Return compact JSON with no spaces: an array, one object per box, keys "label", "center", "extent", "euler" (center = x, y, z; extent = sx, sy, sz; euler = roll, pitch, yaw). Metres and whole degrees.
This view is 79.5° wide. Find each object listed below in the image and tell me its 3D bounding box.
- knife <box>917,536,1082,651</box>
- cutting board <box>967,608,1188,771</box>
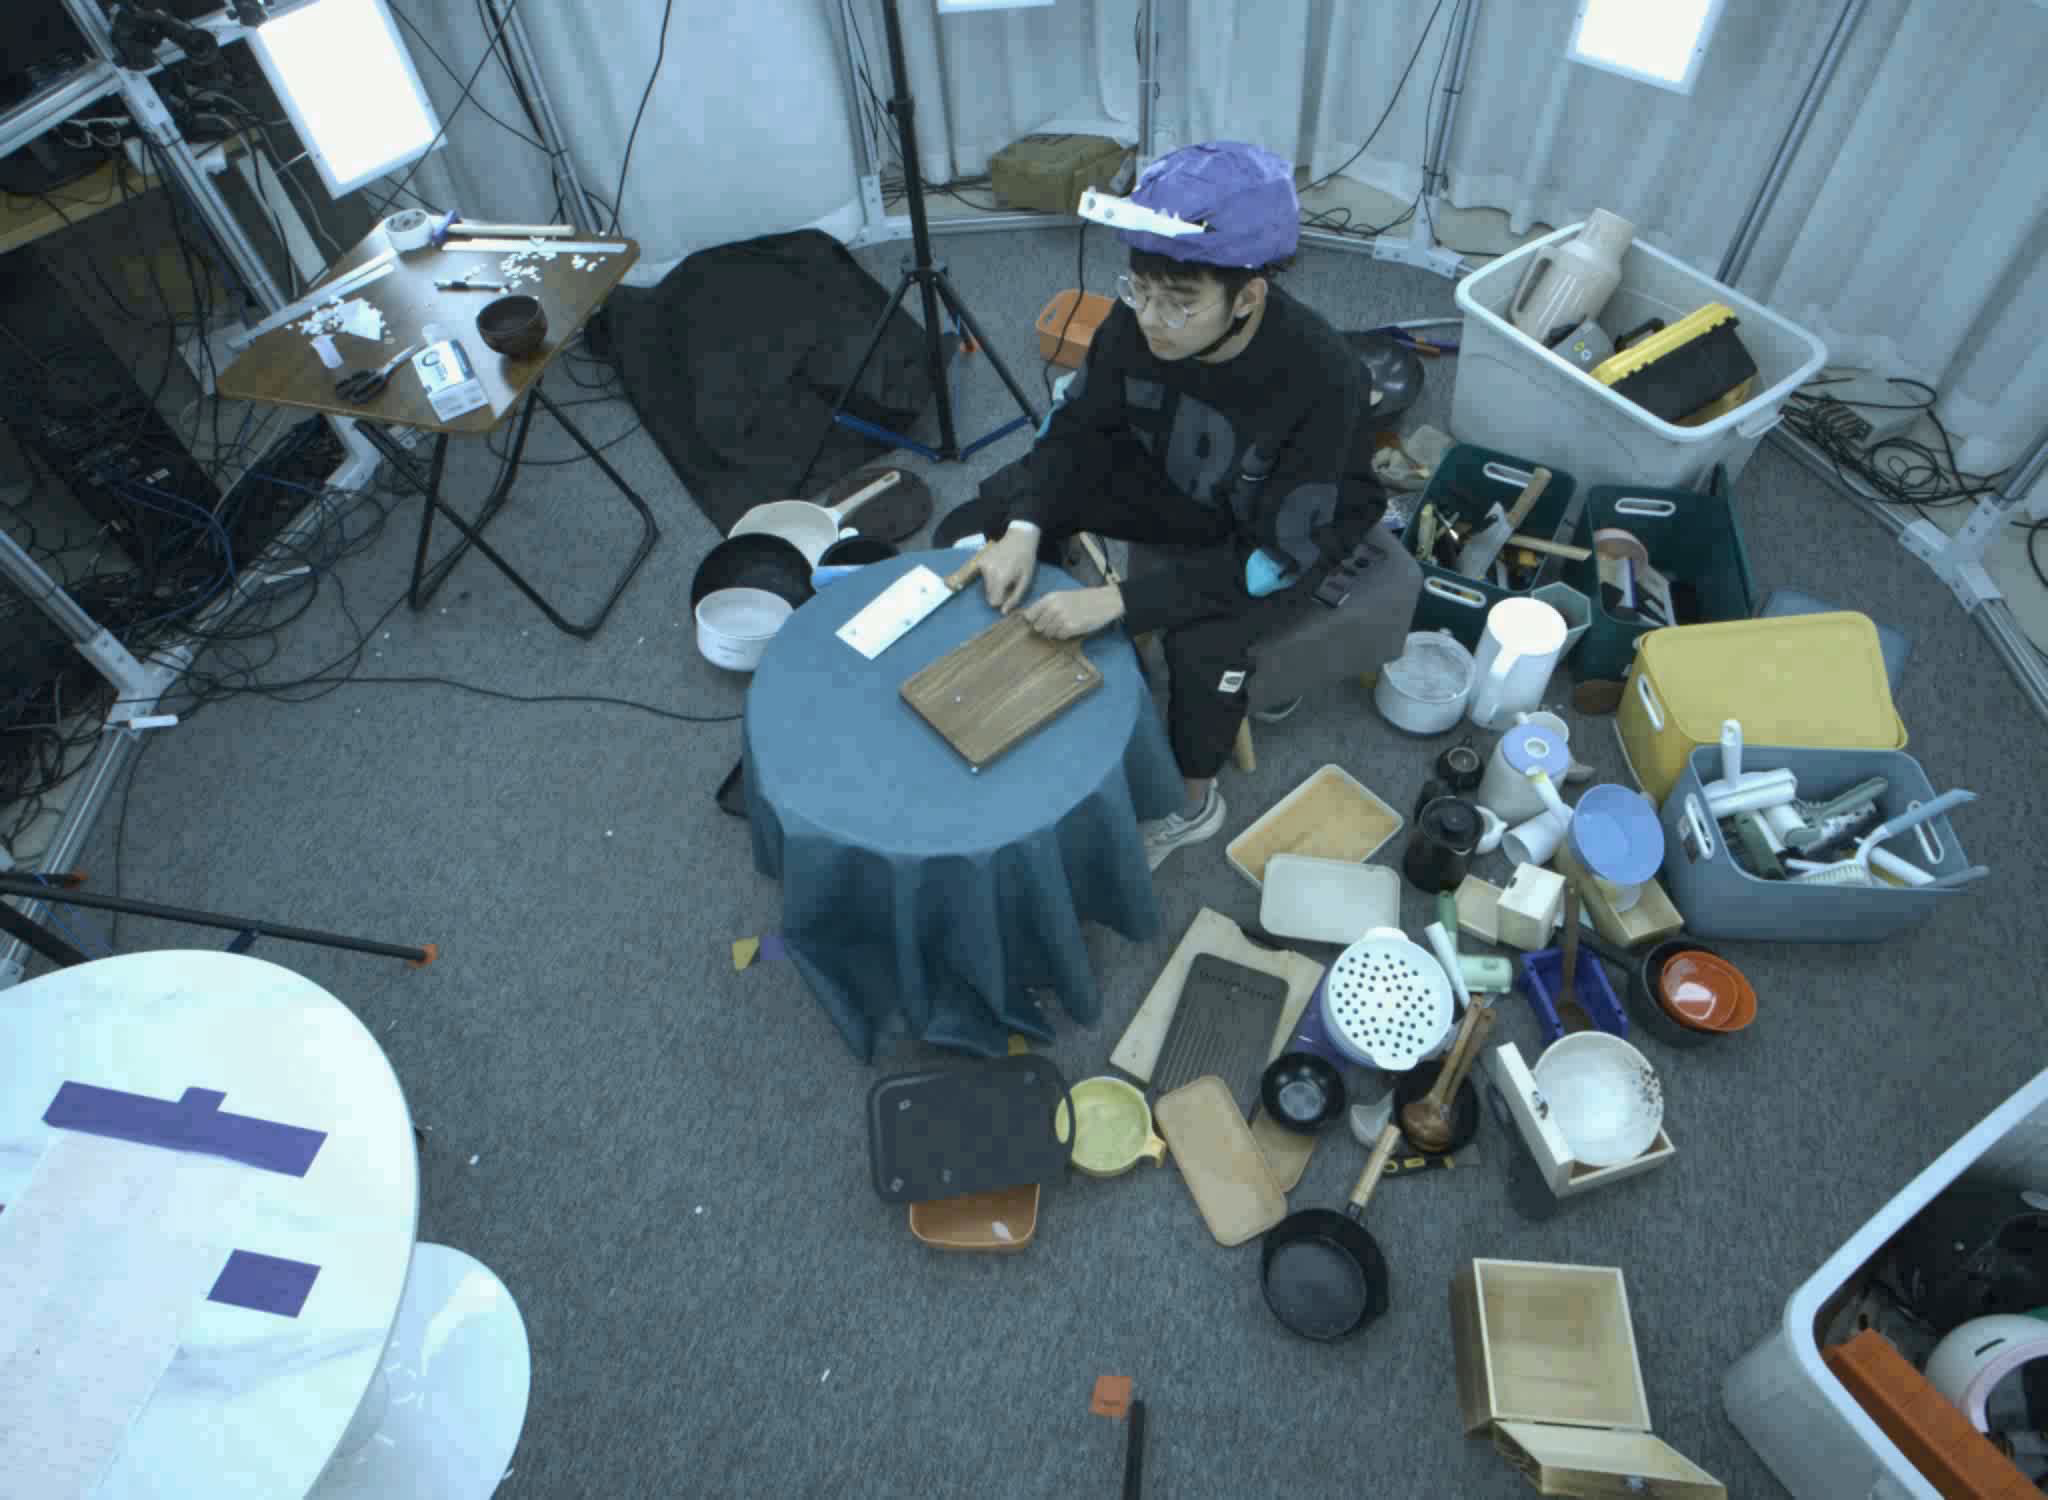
[{"label":"knife","center":[-0.043,-0.264,1.966],"extent":[0.308,0.021,0.091],"euler":[-39,60,-20]},{"label":"cutting board","center":[0.109,-0.121,1.856],"extent":[0.355,0.023,0.197],"euler":[-32,59,-19]}]
